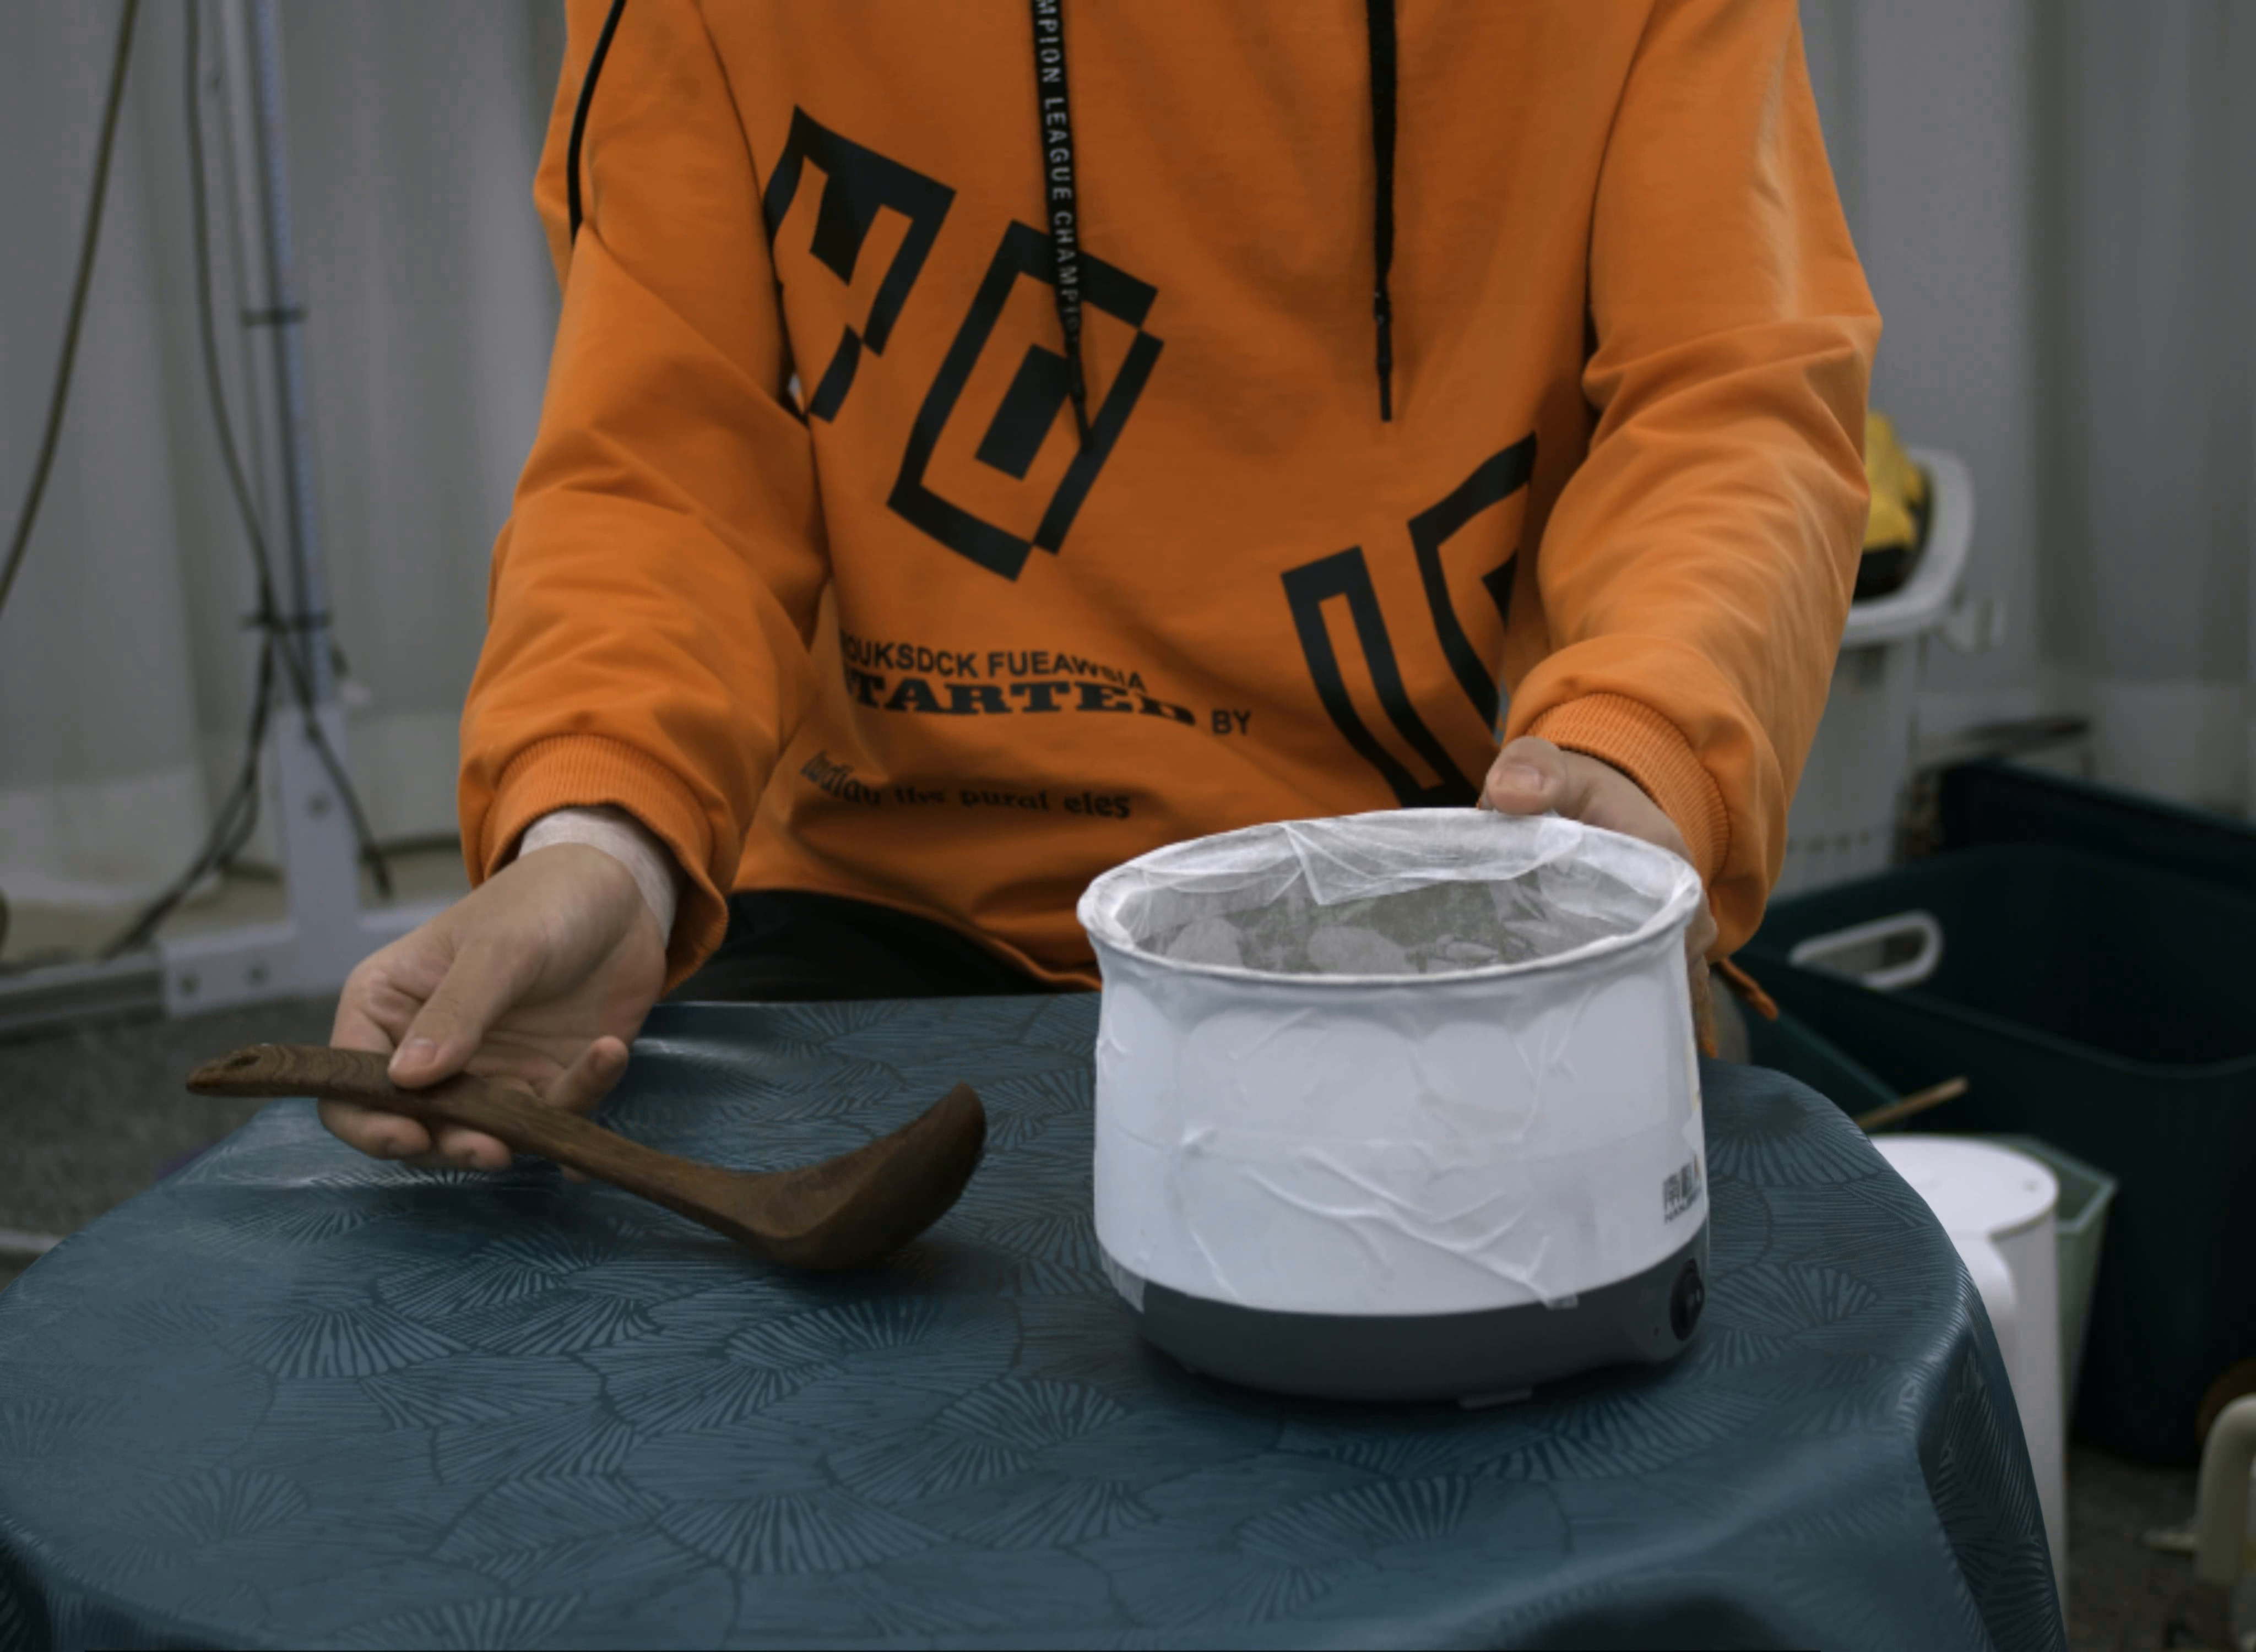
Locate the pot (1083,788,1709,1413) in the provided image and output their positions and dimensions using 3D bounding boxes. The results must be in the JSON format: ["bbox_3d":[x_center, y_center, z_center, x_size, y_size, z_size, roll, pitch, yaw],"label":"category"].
[{"bbox_3d":[0.089,0.073,1.589,0.179,0.136,0.234,4,16,24],"label":"pot"}]

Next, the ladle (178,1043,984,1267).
[{"bbox_3d":[-0.173,0.080,1.688,0.275,0.071,0.076,14,25,21],"label":"ladle"}]
